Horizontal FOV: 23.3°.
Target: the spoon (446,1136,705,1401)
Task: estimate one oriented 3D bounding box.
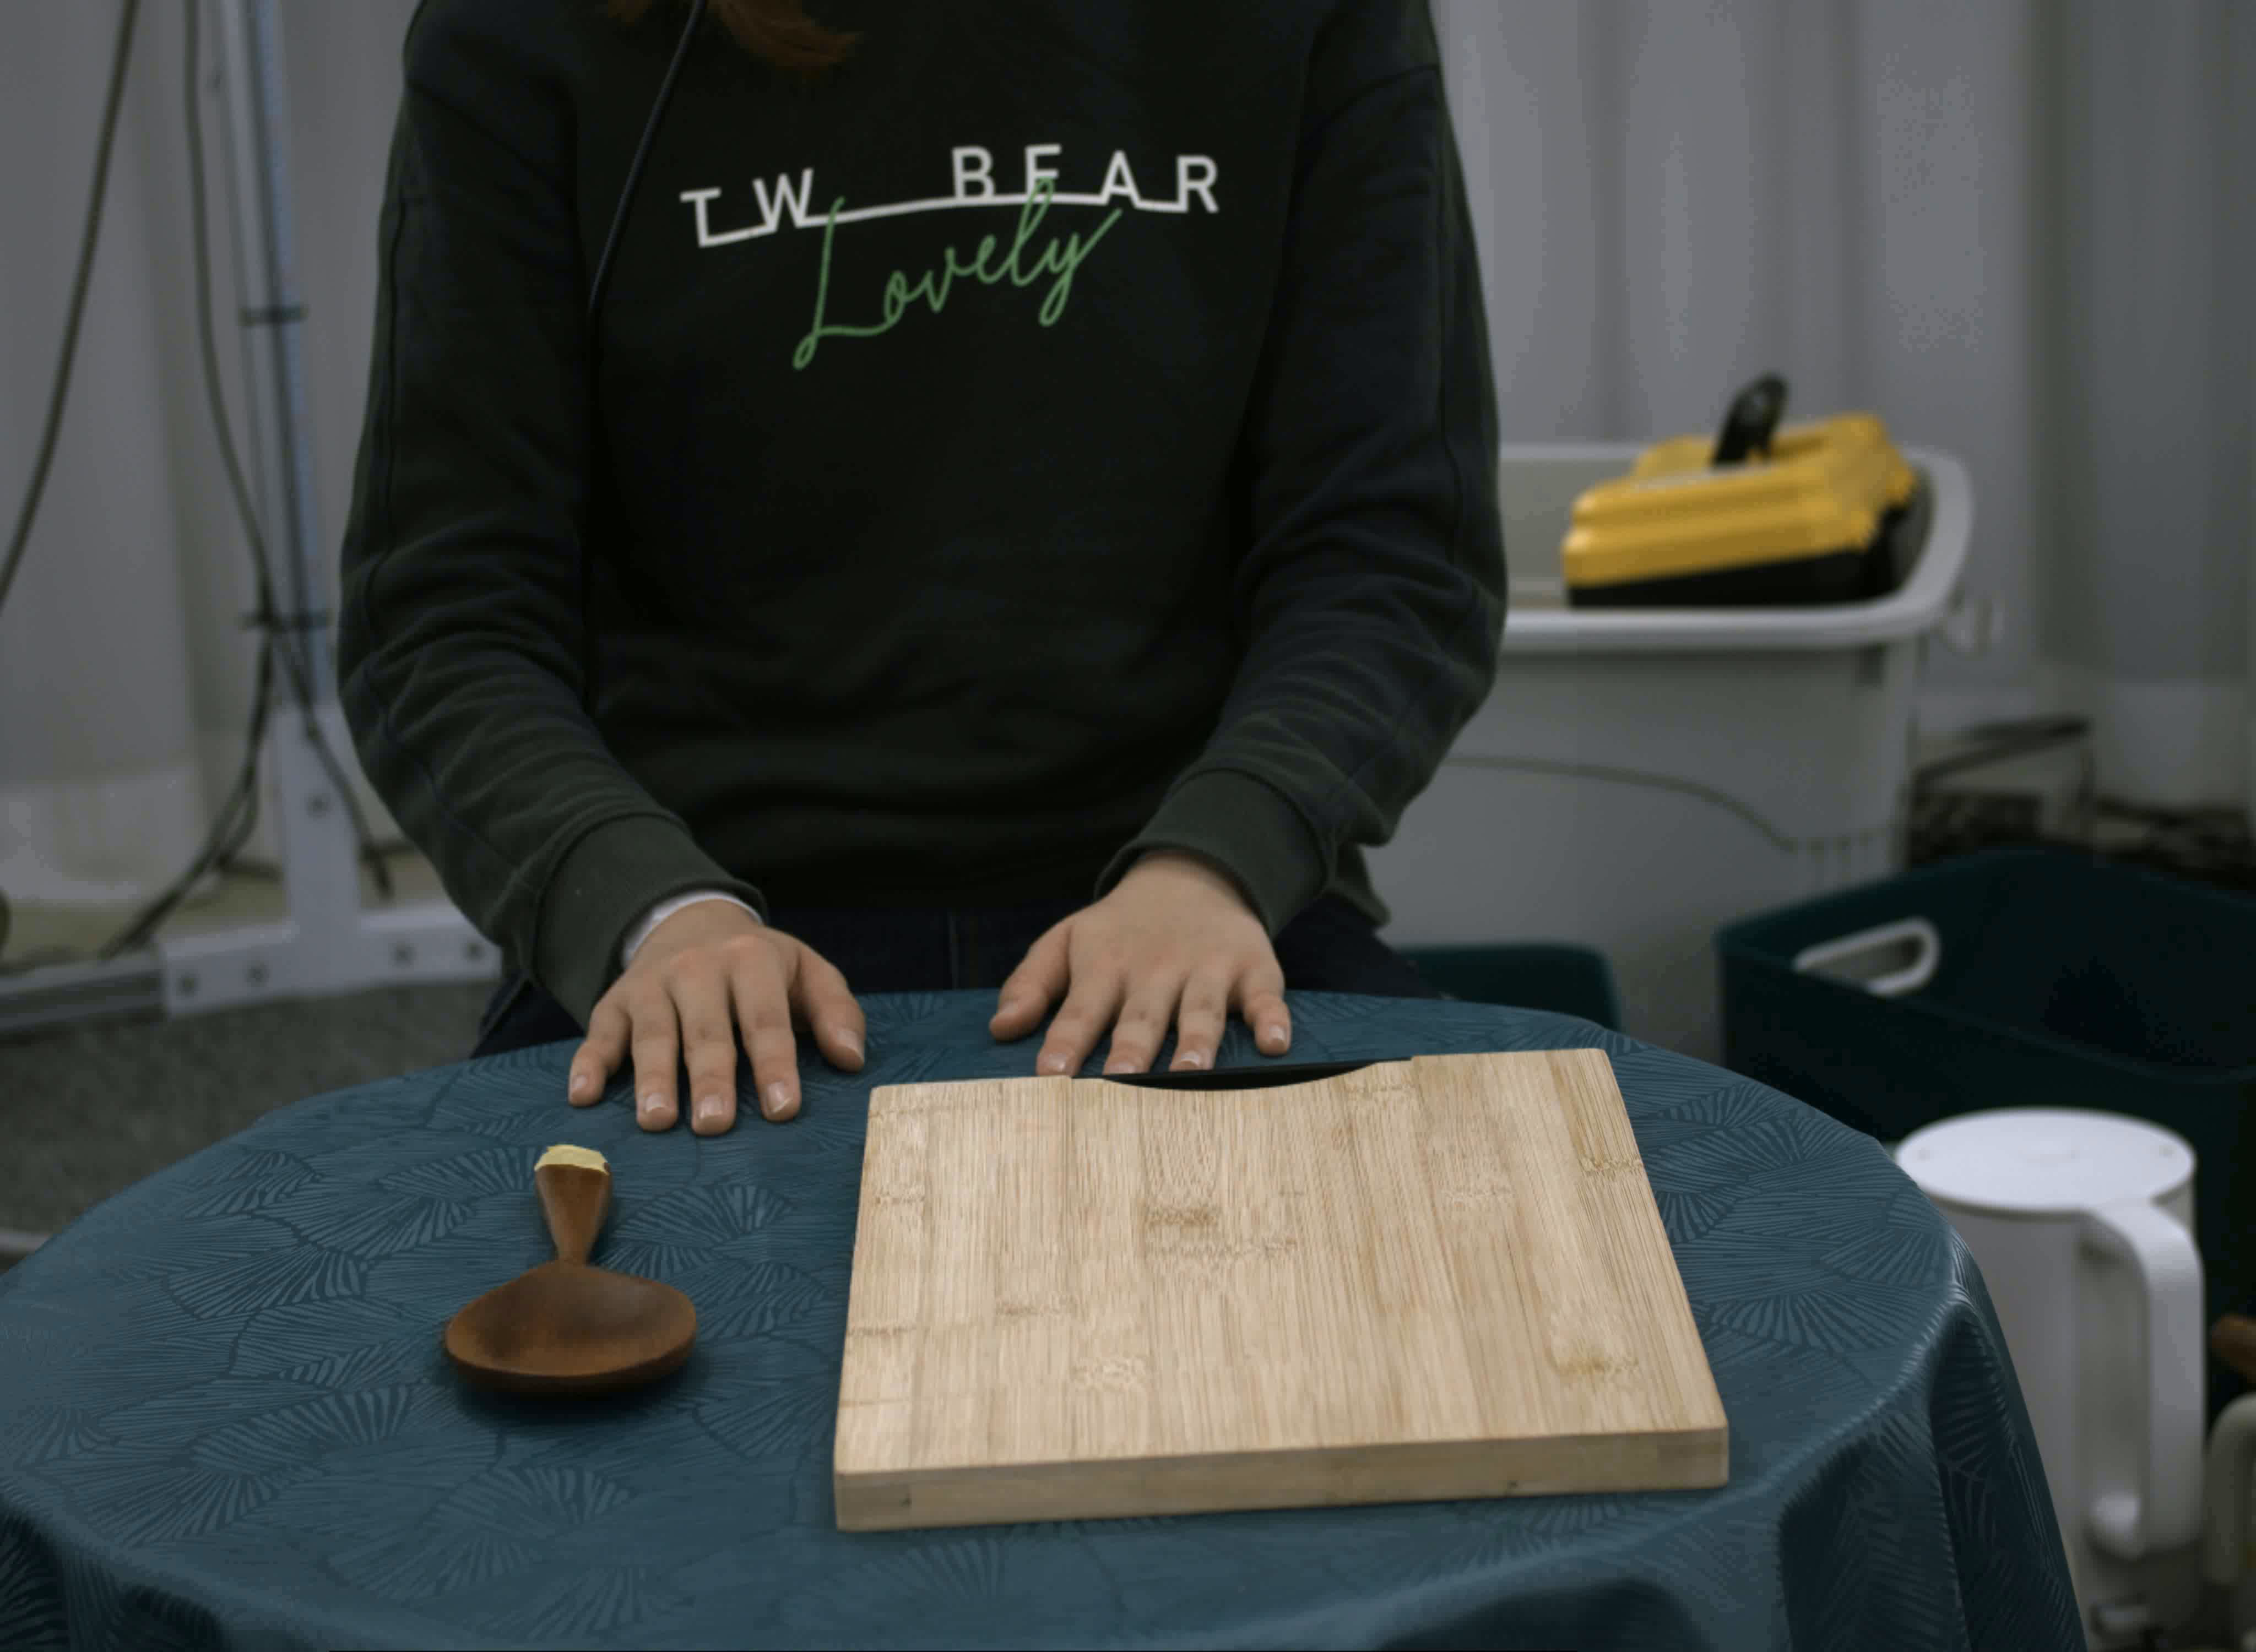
[{"bbox_3d":[-0.165,0.134,1.641,0.075,0.017,0.217,-6,16,-4],"label":"spoon"}]

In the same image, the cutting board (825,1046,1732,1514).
[{"bbox_3d":[0.039,0.130,1.620,0.250,0.023,0.351,-2,15,-1],"label":"cutting board"}]
